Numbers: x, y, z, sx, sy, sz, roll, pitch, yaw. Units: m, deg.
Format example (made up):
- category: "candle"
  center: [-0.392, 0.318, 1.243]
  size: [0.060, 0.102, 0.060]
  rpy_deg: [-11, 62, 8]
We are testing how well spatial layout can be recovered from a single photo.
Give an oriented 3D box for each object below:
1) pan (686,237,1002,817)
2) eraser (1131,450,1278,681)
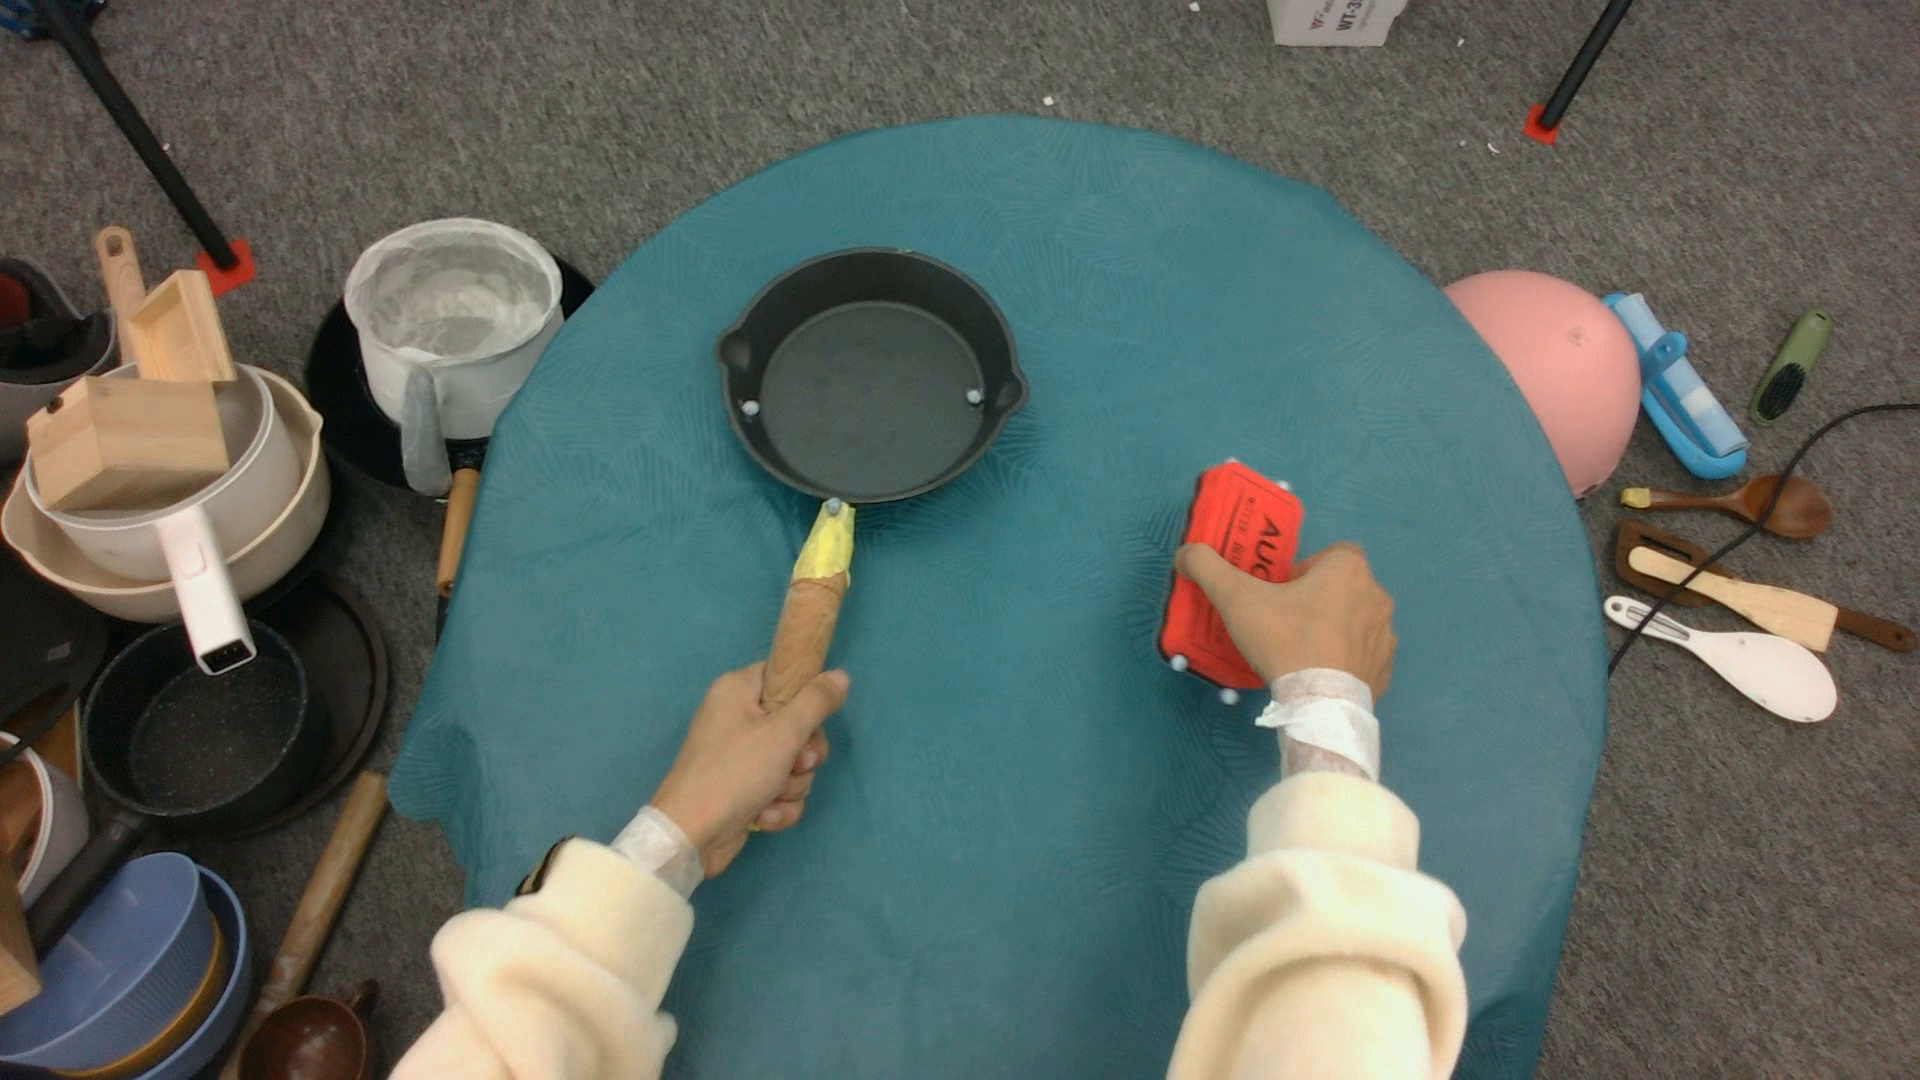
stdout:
- category: "pan"
  center: [-0.077, -0.017, 0.695]
  size: [0.169, 0.049, 0.325]
  rpy_deg: [11, 64, 3]
- category: "eraser"
  center: [0.124, 0.013, 0.693]
  size: [0.059, 0.023, 0.108]
  rpy_deg: [28, 65, -24]
